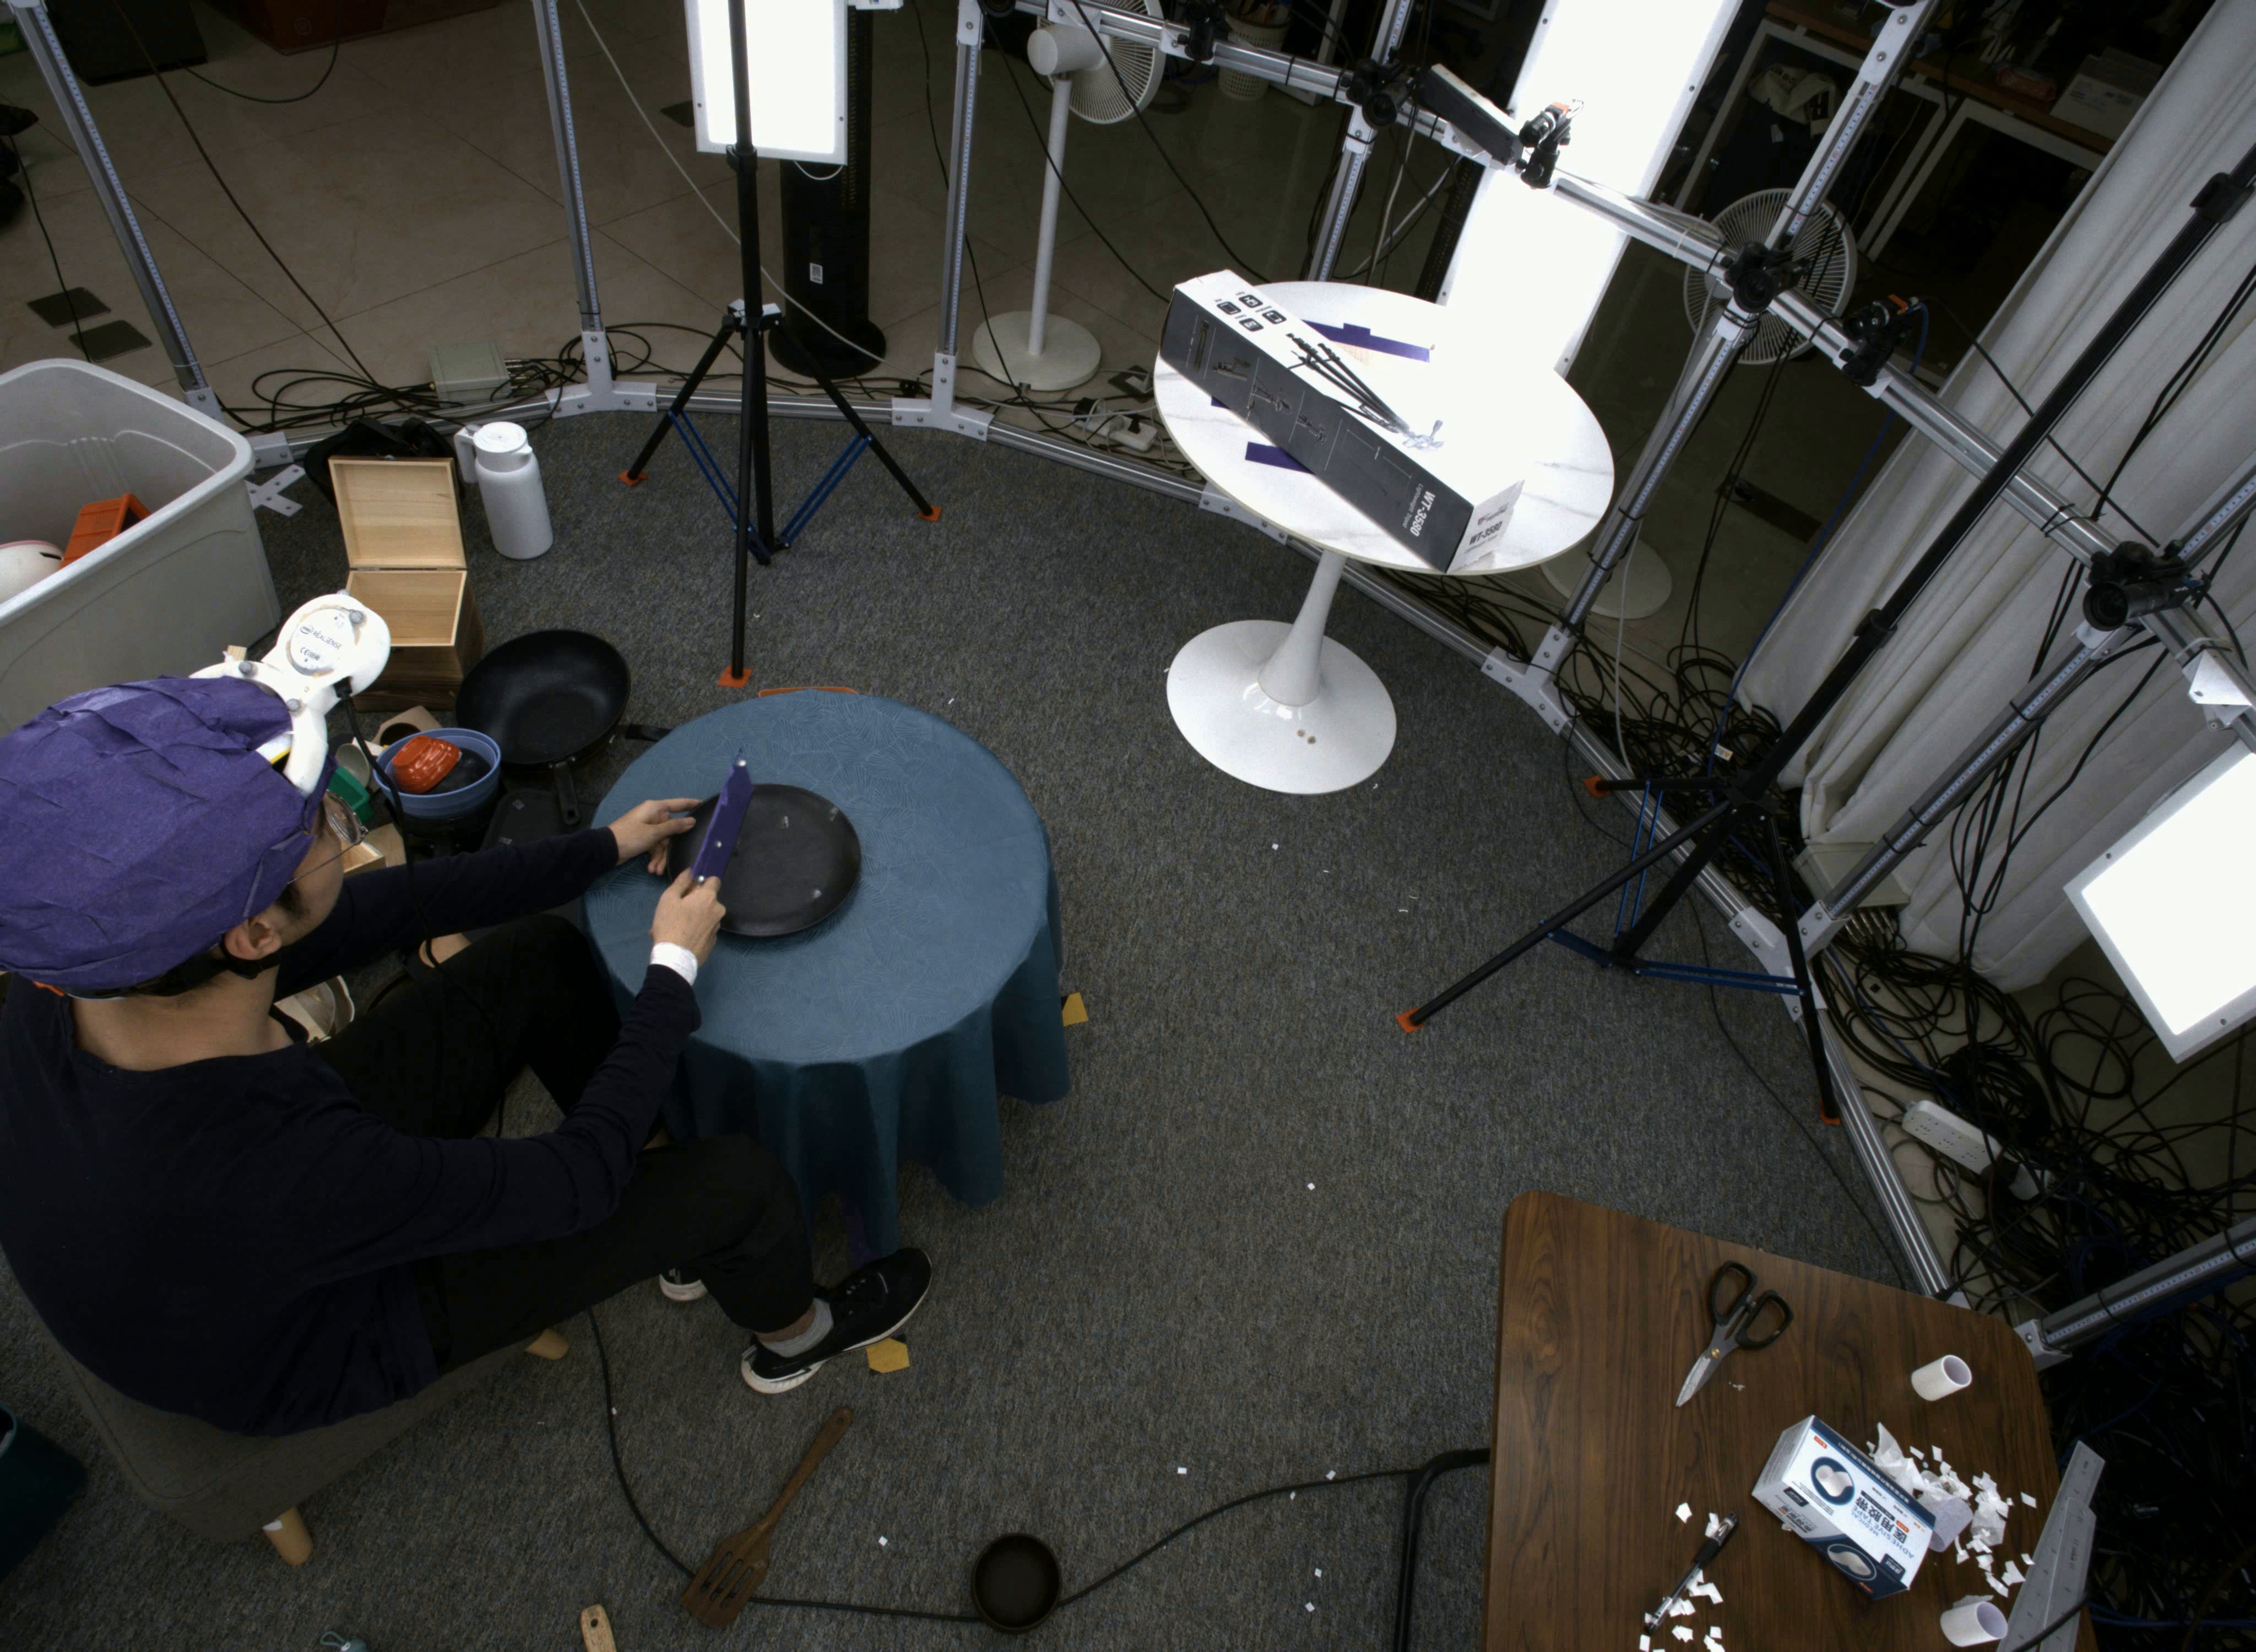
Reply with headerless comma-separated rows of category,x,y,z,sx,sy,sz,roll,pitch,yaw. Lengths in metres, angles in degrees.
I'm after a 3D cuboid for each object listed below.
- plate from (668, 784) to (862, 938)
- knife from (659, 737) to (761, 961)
plate,-0.467,0.046,1.674,0.244,0.024,0.240,8,53,-9
knife,-0.506,0.040,1.595,0.032,0.107,0.311,6,54,5
